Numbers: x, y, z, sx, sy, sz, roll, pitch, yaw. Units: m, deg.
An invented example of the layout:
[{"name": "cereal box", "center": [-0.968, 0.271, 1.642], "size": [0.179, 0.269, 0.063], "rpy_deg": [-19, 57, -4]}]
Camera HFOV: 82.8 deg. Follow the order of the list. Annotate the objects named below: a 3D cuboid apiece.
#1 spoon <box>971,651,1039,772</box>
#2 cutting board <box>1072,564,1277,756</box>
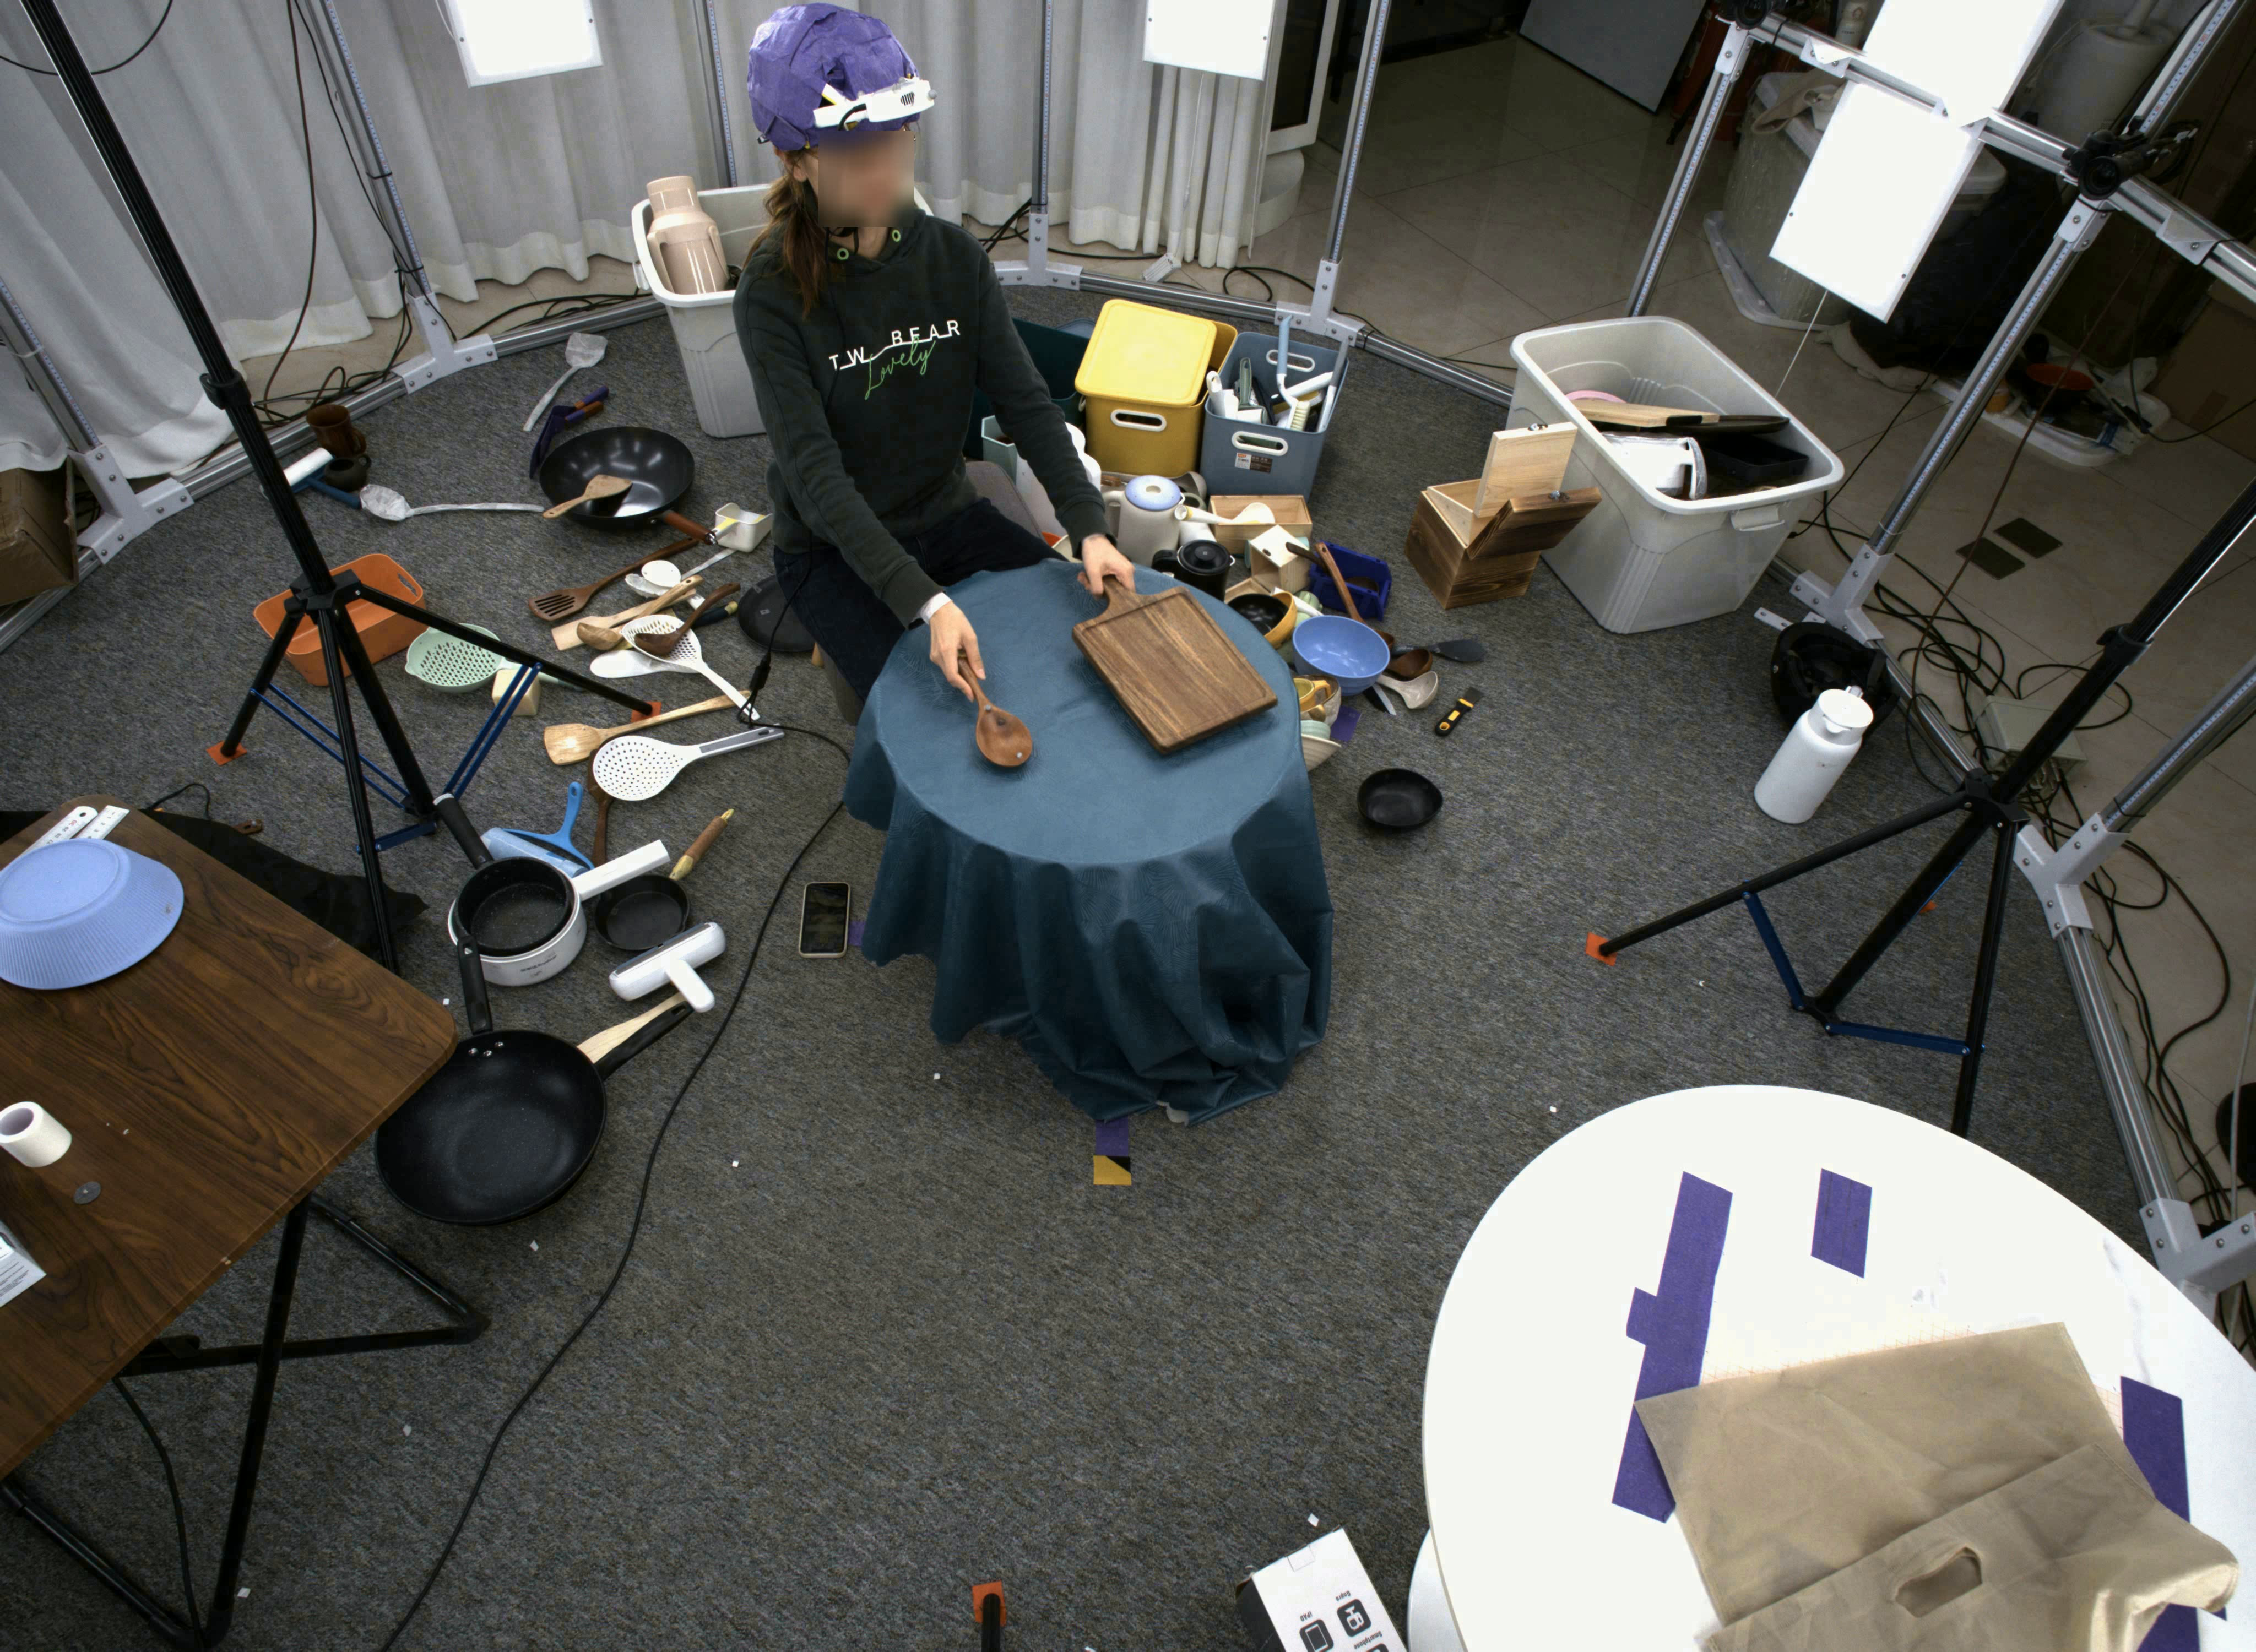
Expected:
[{"name": "spoon", "center": [-0.180, -0.158, 1.774], "size": [0.075, 0.017, 0.221], "rpy_deg": [-11, 57, -17]}, {"name": "cutting board", "center": [0.040, -0.263, 1.866], "size": [0.202, 0.022, 0.359], "rpy_deg": [-24, 59, -20]}]
